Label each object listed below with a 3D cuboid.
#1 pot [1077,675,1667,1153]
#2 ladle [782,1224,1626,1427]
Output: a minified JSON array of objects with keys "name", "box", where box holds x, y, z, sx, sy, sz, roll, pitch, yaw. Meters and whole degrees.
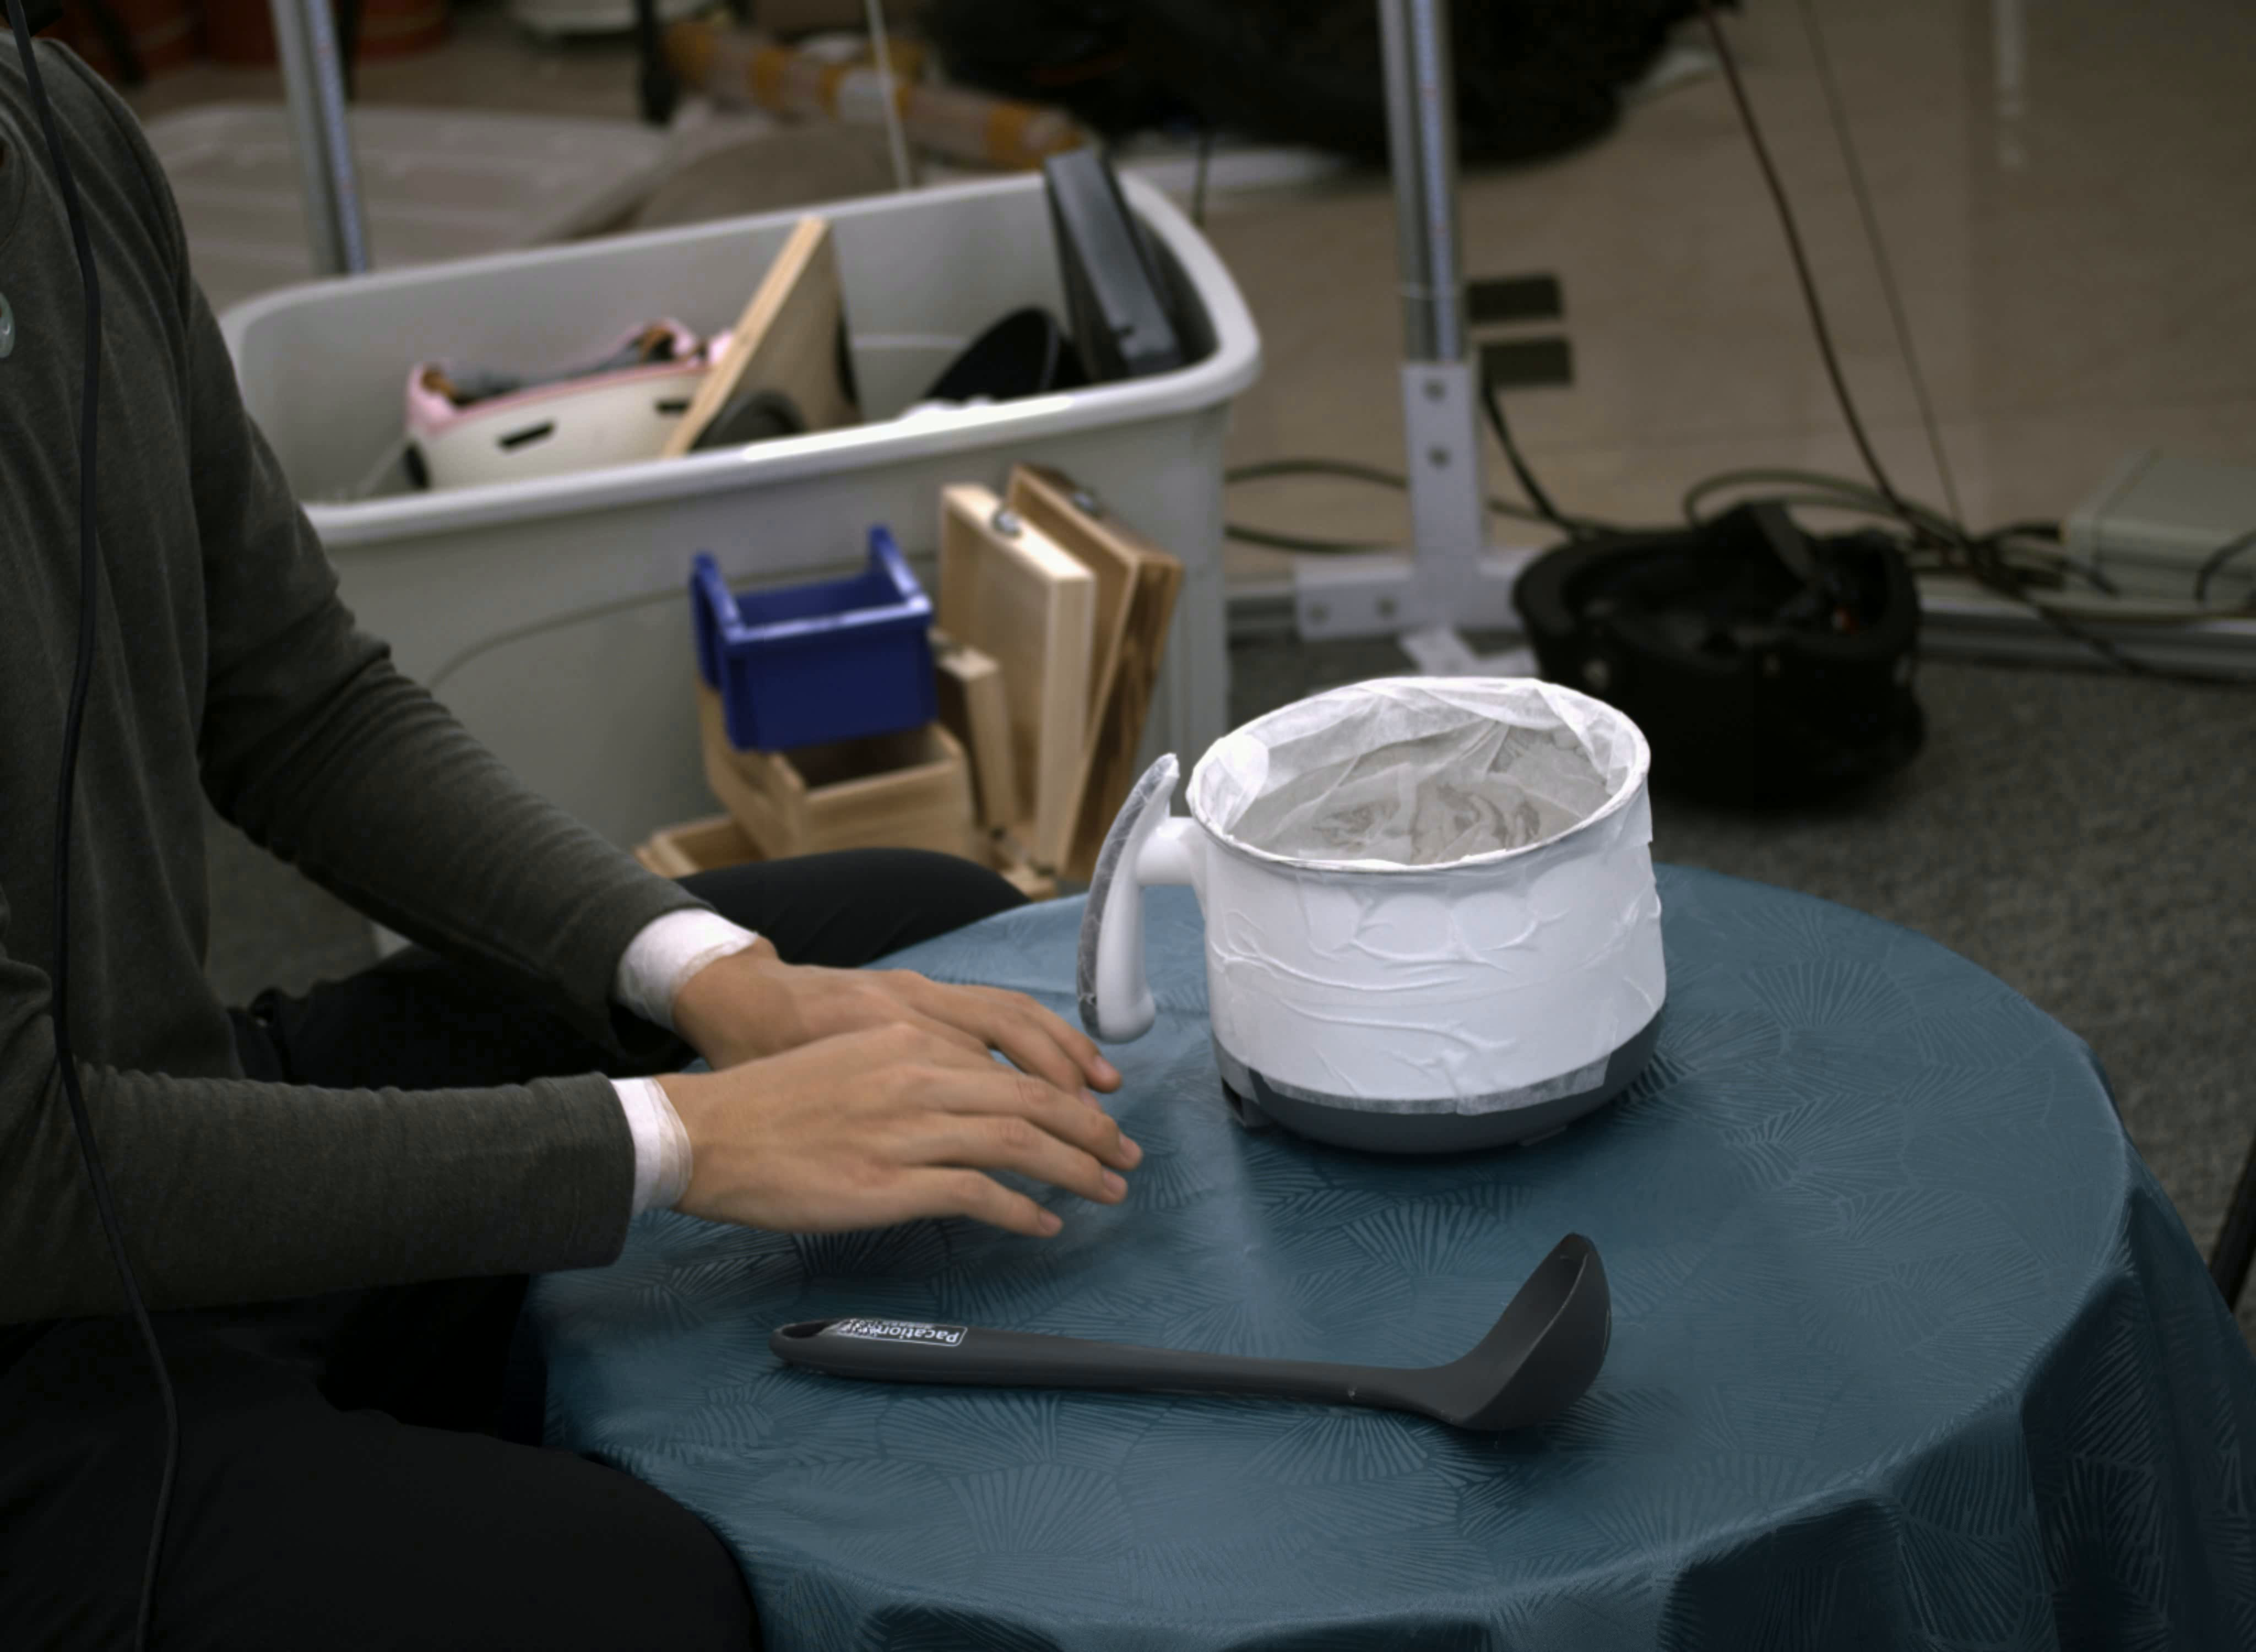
[{"name":"pot","box":[0.090,0.035,2.187,0.233,0.139,0.176,1,26,15]},{"name":"ladle","box":[0.021,0.173,1.998,0.313,0.065,0.085,2,26,18]}]
